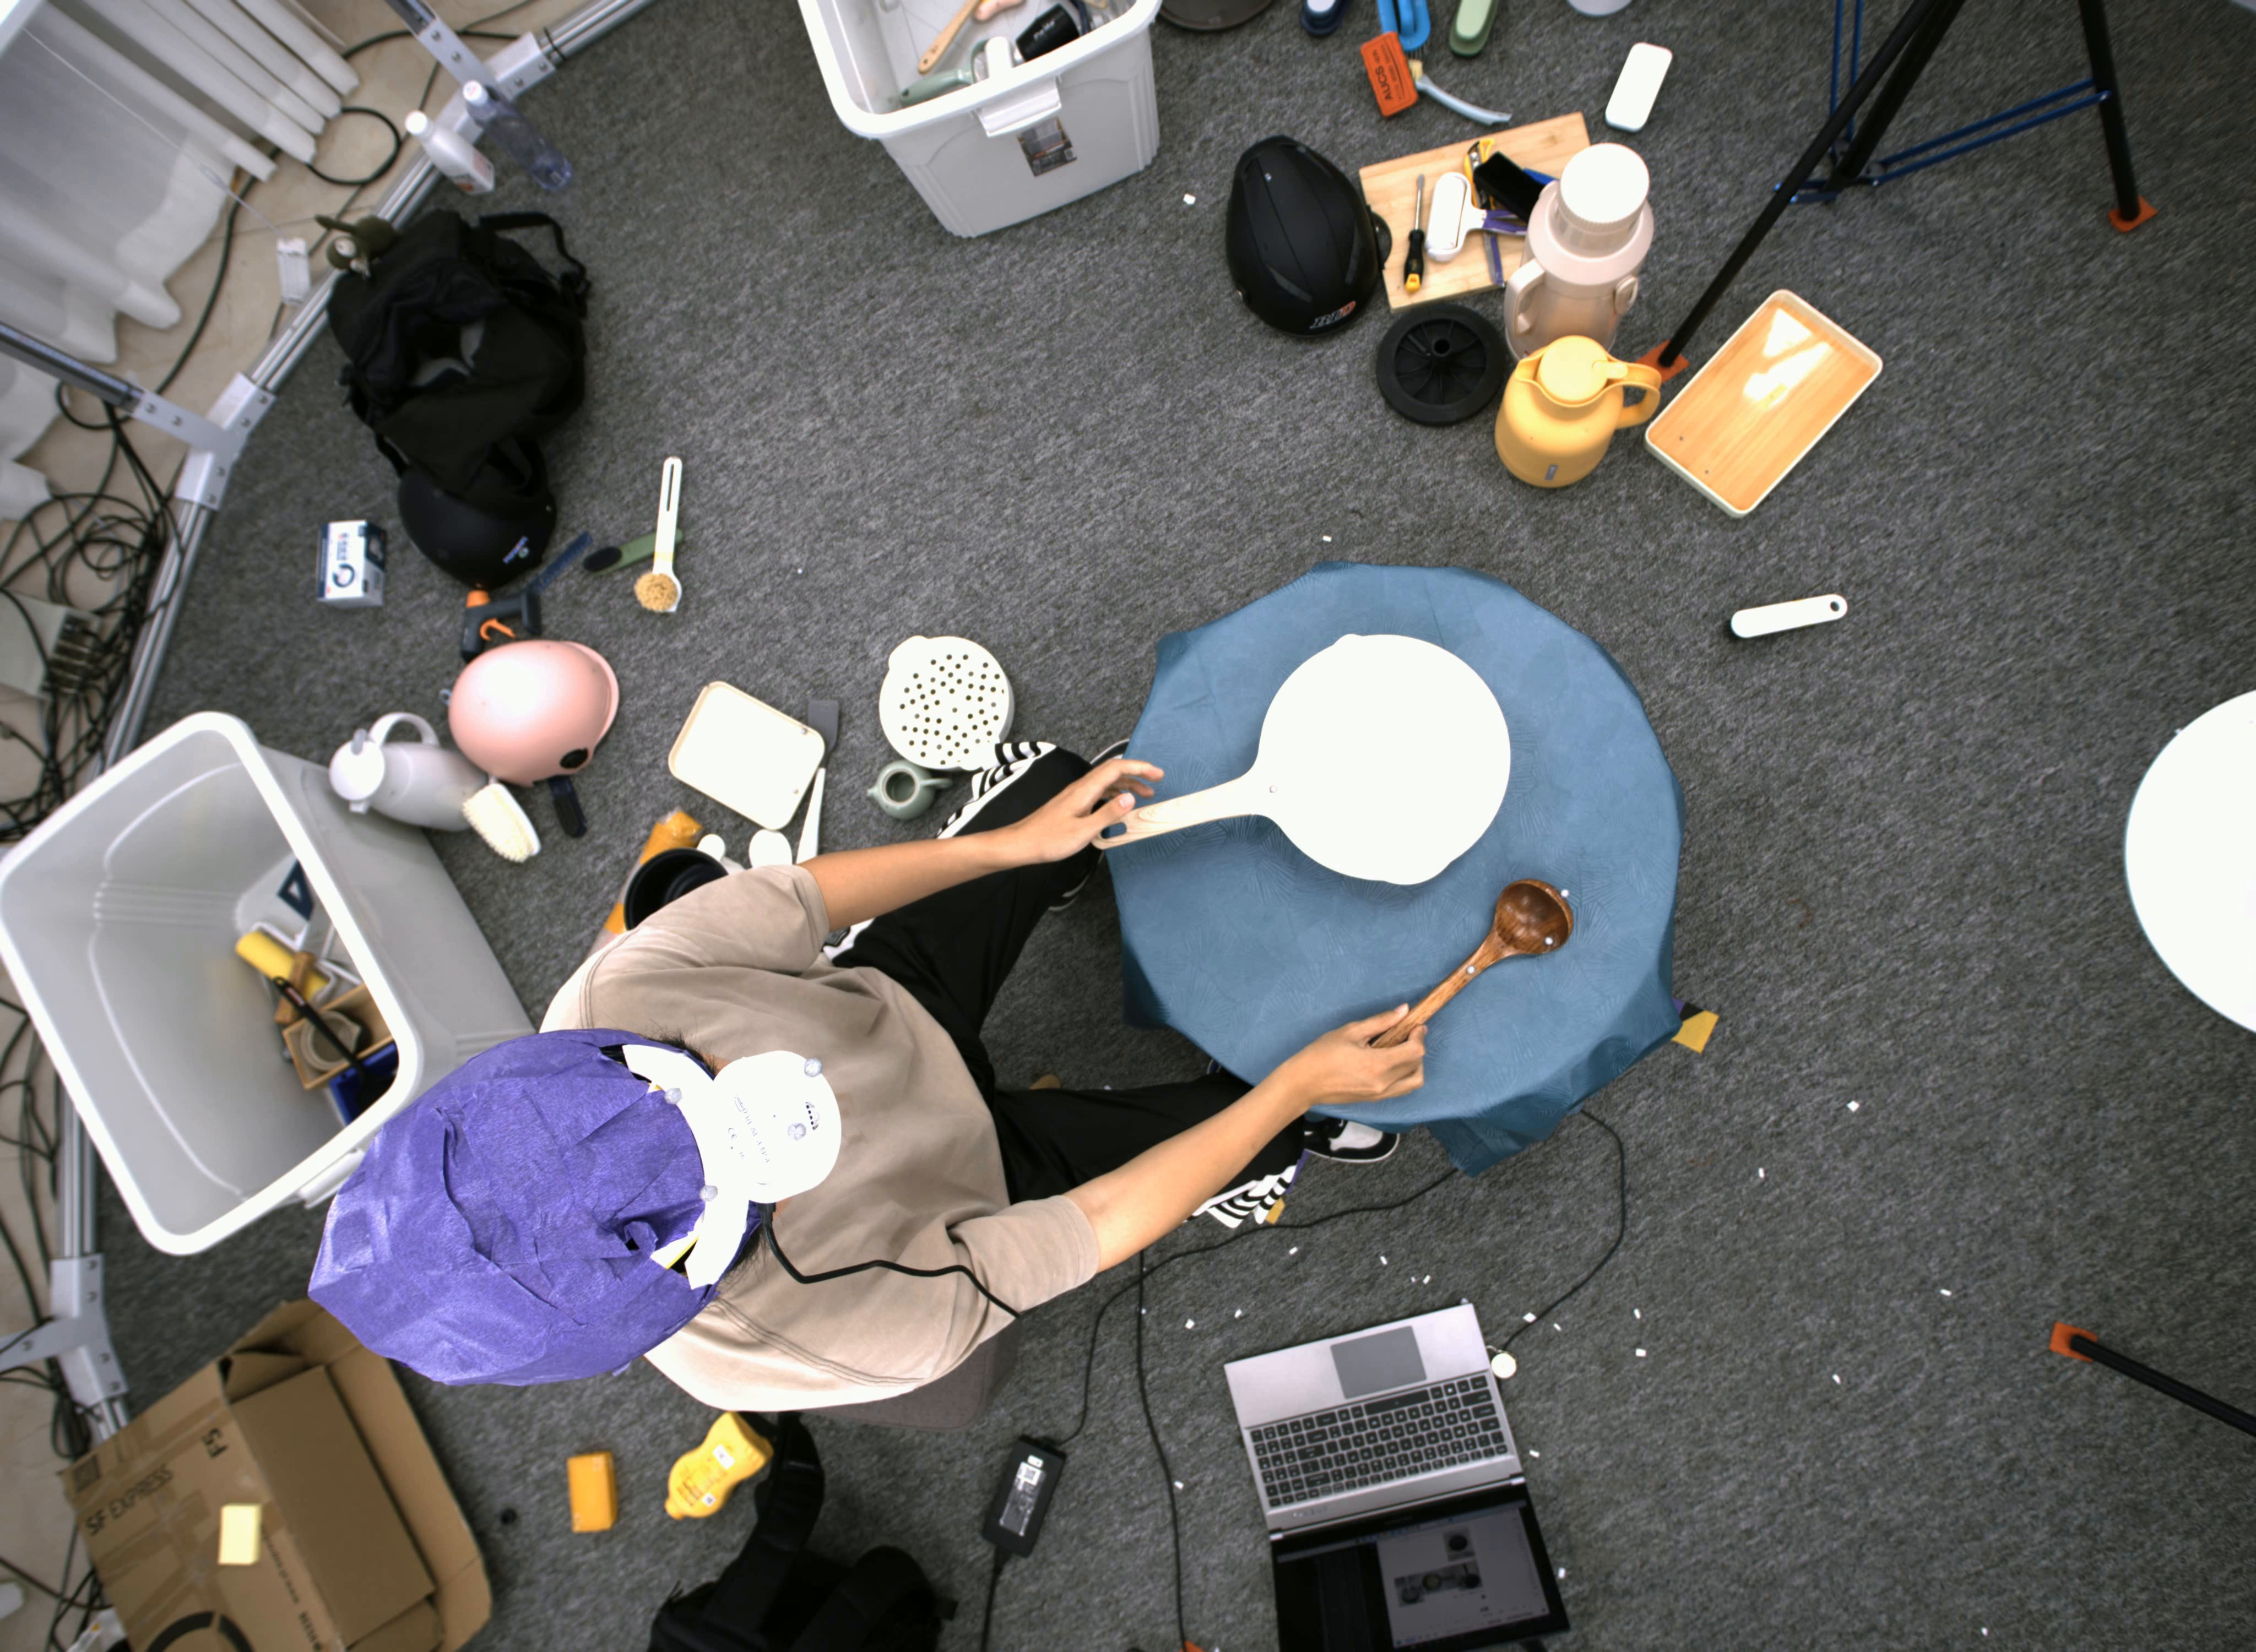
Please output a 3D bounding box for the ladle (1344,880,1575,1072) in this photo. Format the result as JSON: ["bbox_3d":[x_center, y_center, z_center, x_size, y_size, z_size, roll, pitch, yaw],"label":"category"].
[{"bbox_3d":[0.334,0.156,1.396,0.274,0.077,0.081,-38,77,-1],"label":"ladle"}]

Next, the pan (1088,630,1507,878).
[{"bbox_3d":[0.173,-0.047,1.436,0.437,0.102,0.262,-17,85,9],"label":"pan"}]
